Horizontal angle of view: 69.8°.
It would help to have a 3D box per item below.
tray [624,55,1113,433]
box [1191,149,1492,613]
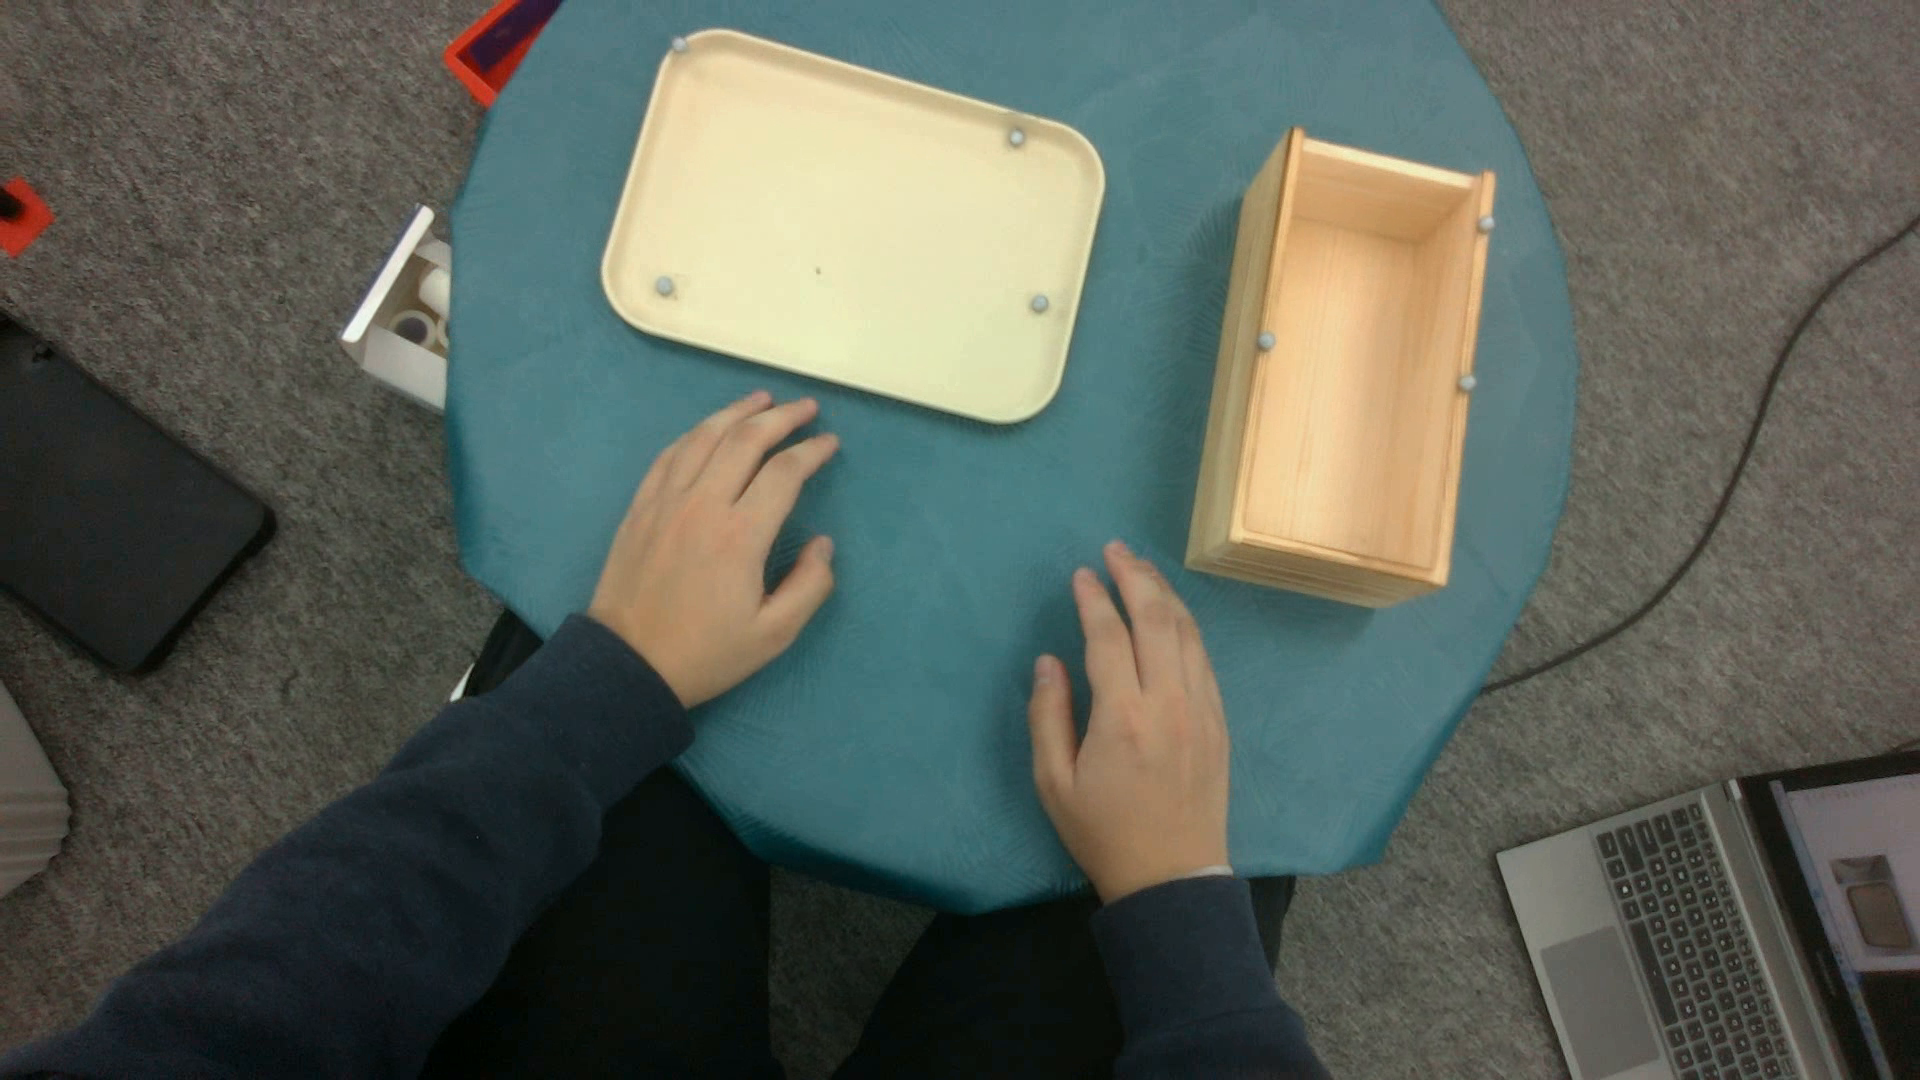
[{"bbox_3d":[-0.046,-0.157,0.734,0.240,0.017,0.171,14,78,-3],"label":"tray"},{"bbox_3d":[0.195,-0.079,0.710,0.107,0.080,0.212,12,78,-2],"label":"box"}]
